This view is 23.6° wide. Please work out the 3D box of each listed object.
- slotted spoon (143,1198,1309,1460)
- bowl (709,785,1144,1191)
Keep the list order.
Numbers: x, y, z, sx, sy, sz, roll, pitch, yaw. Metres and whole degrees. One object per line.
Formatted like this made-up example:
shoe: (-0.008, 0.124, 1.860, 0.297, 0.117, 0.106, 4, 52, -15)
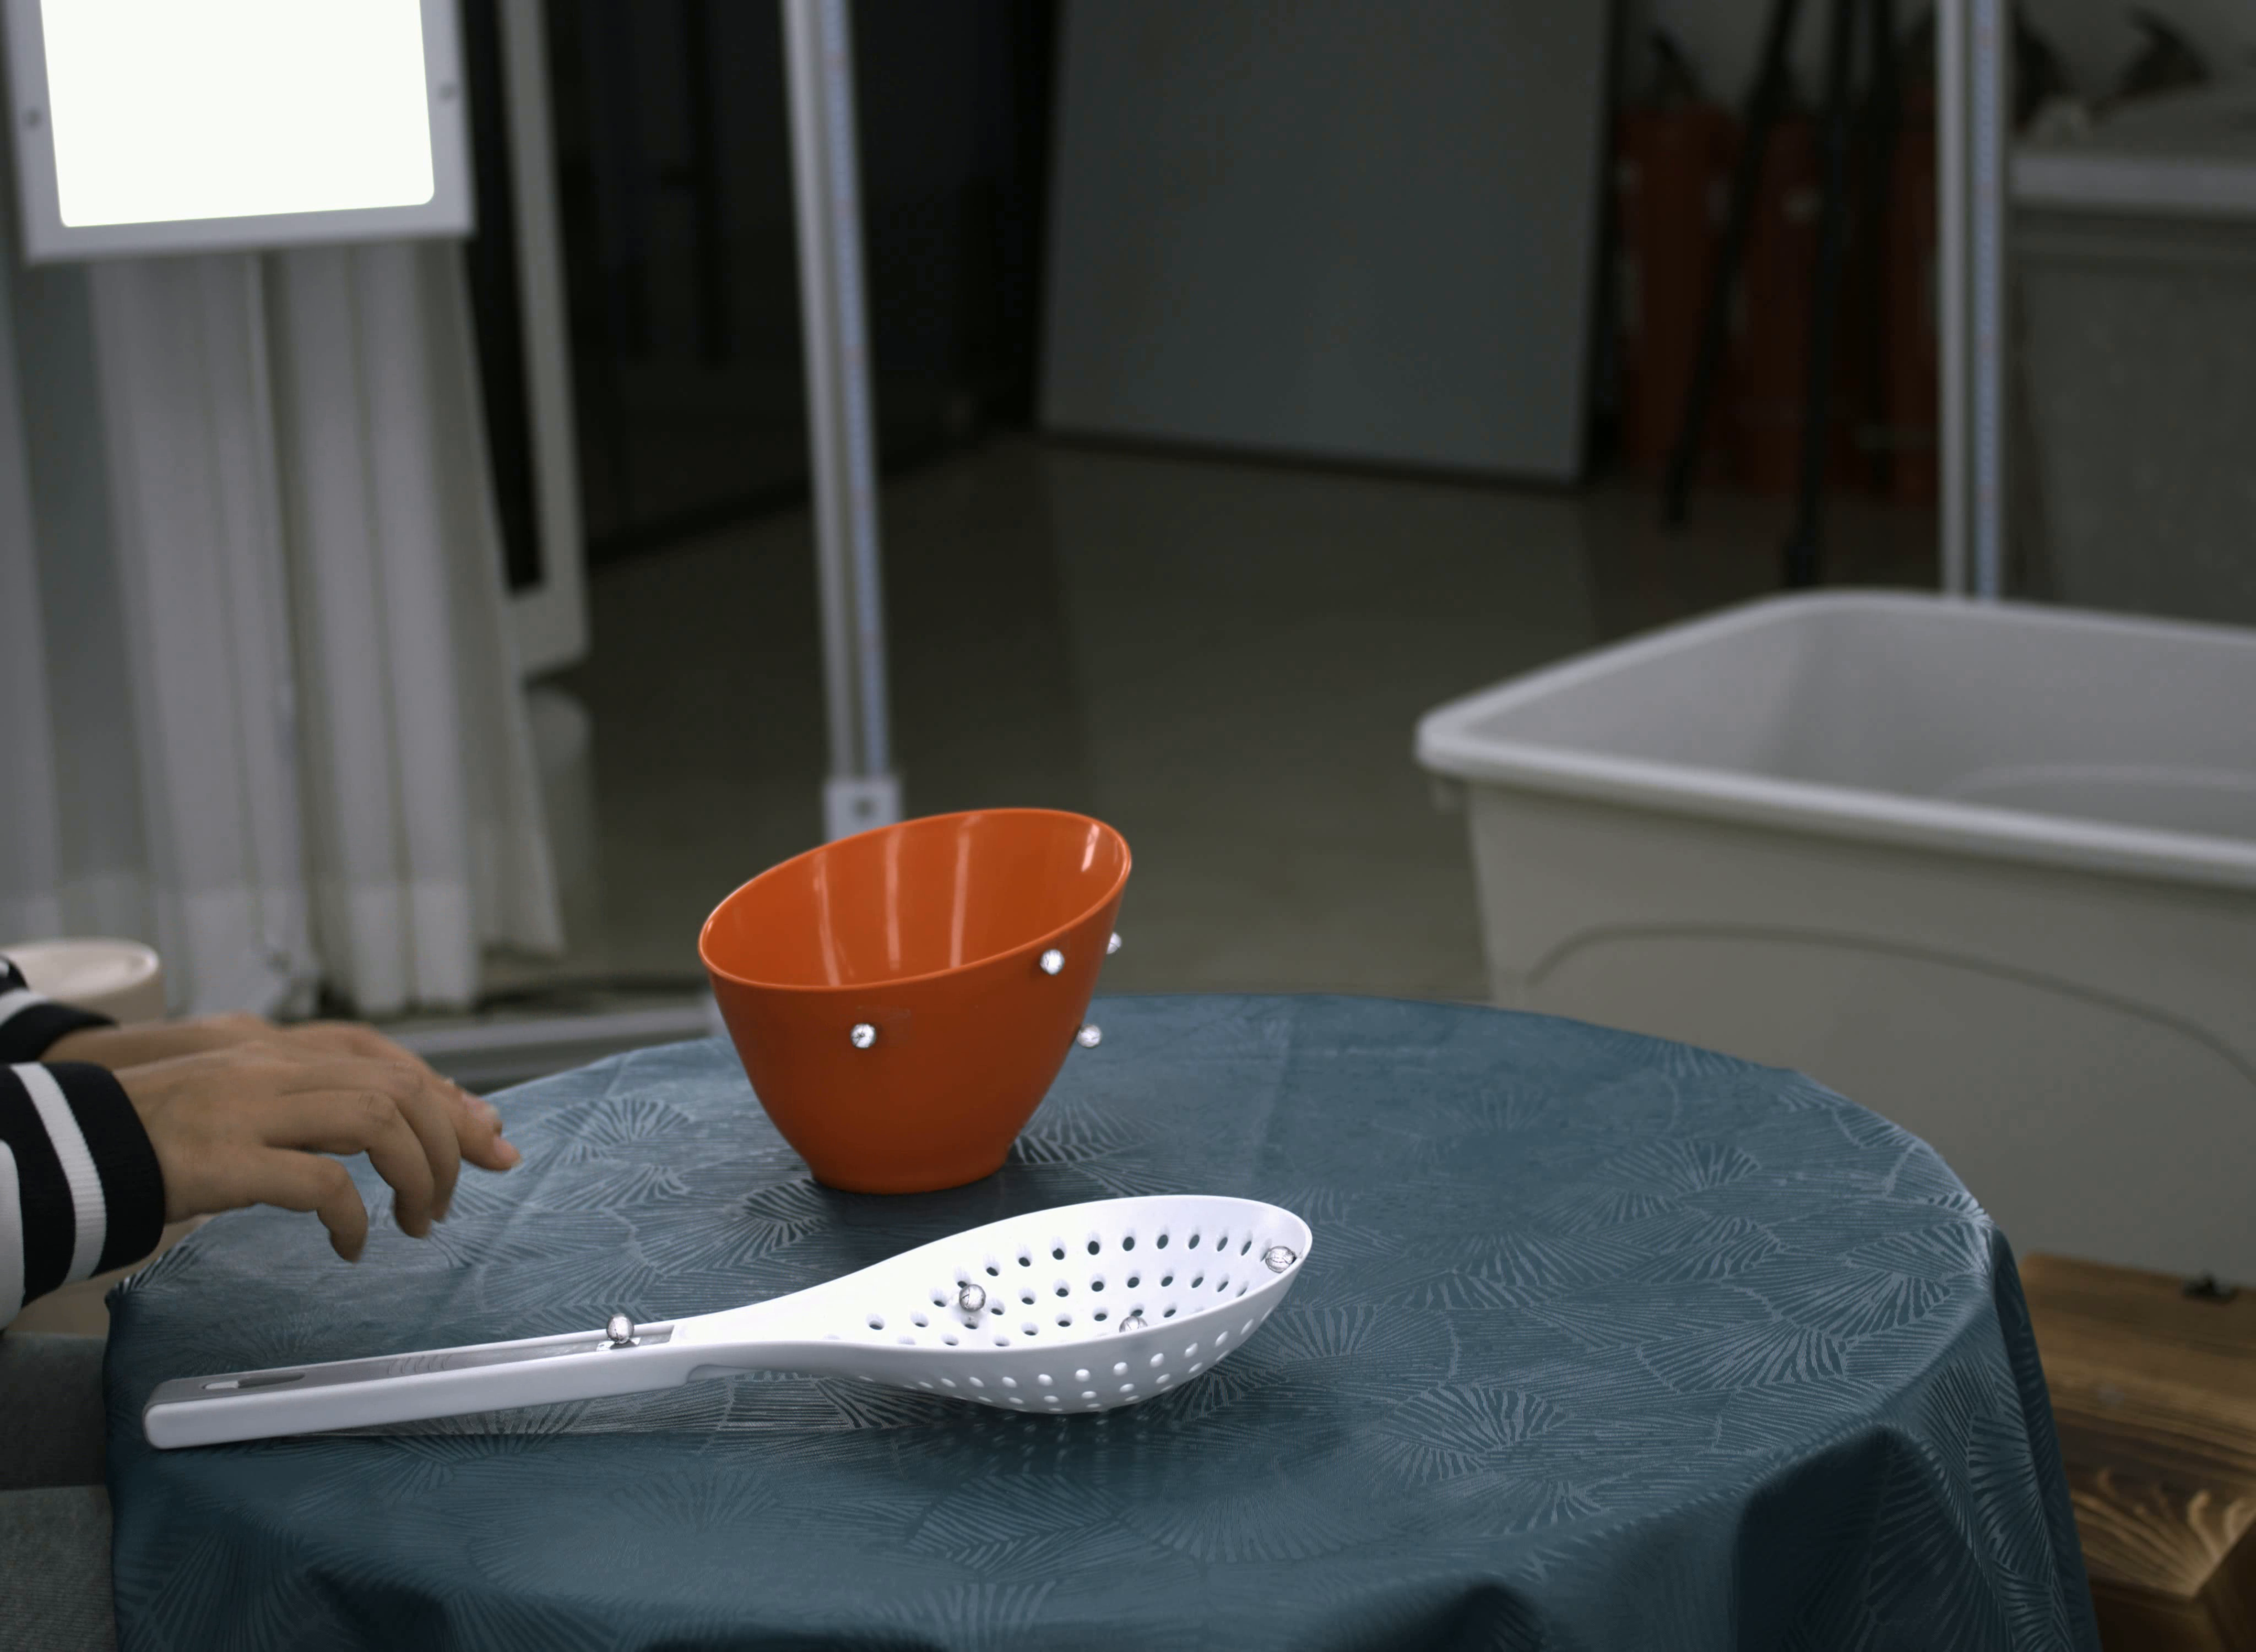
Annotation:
slotted spoon: (-0.118, 0.152, 1.584, 0.346, 0.046, 0.136, -4, 12, 4)
bowl: (-0.065, 0.059, 1.808, 0.146, 0.105, 0.148, -3, 20, 0)
